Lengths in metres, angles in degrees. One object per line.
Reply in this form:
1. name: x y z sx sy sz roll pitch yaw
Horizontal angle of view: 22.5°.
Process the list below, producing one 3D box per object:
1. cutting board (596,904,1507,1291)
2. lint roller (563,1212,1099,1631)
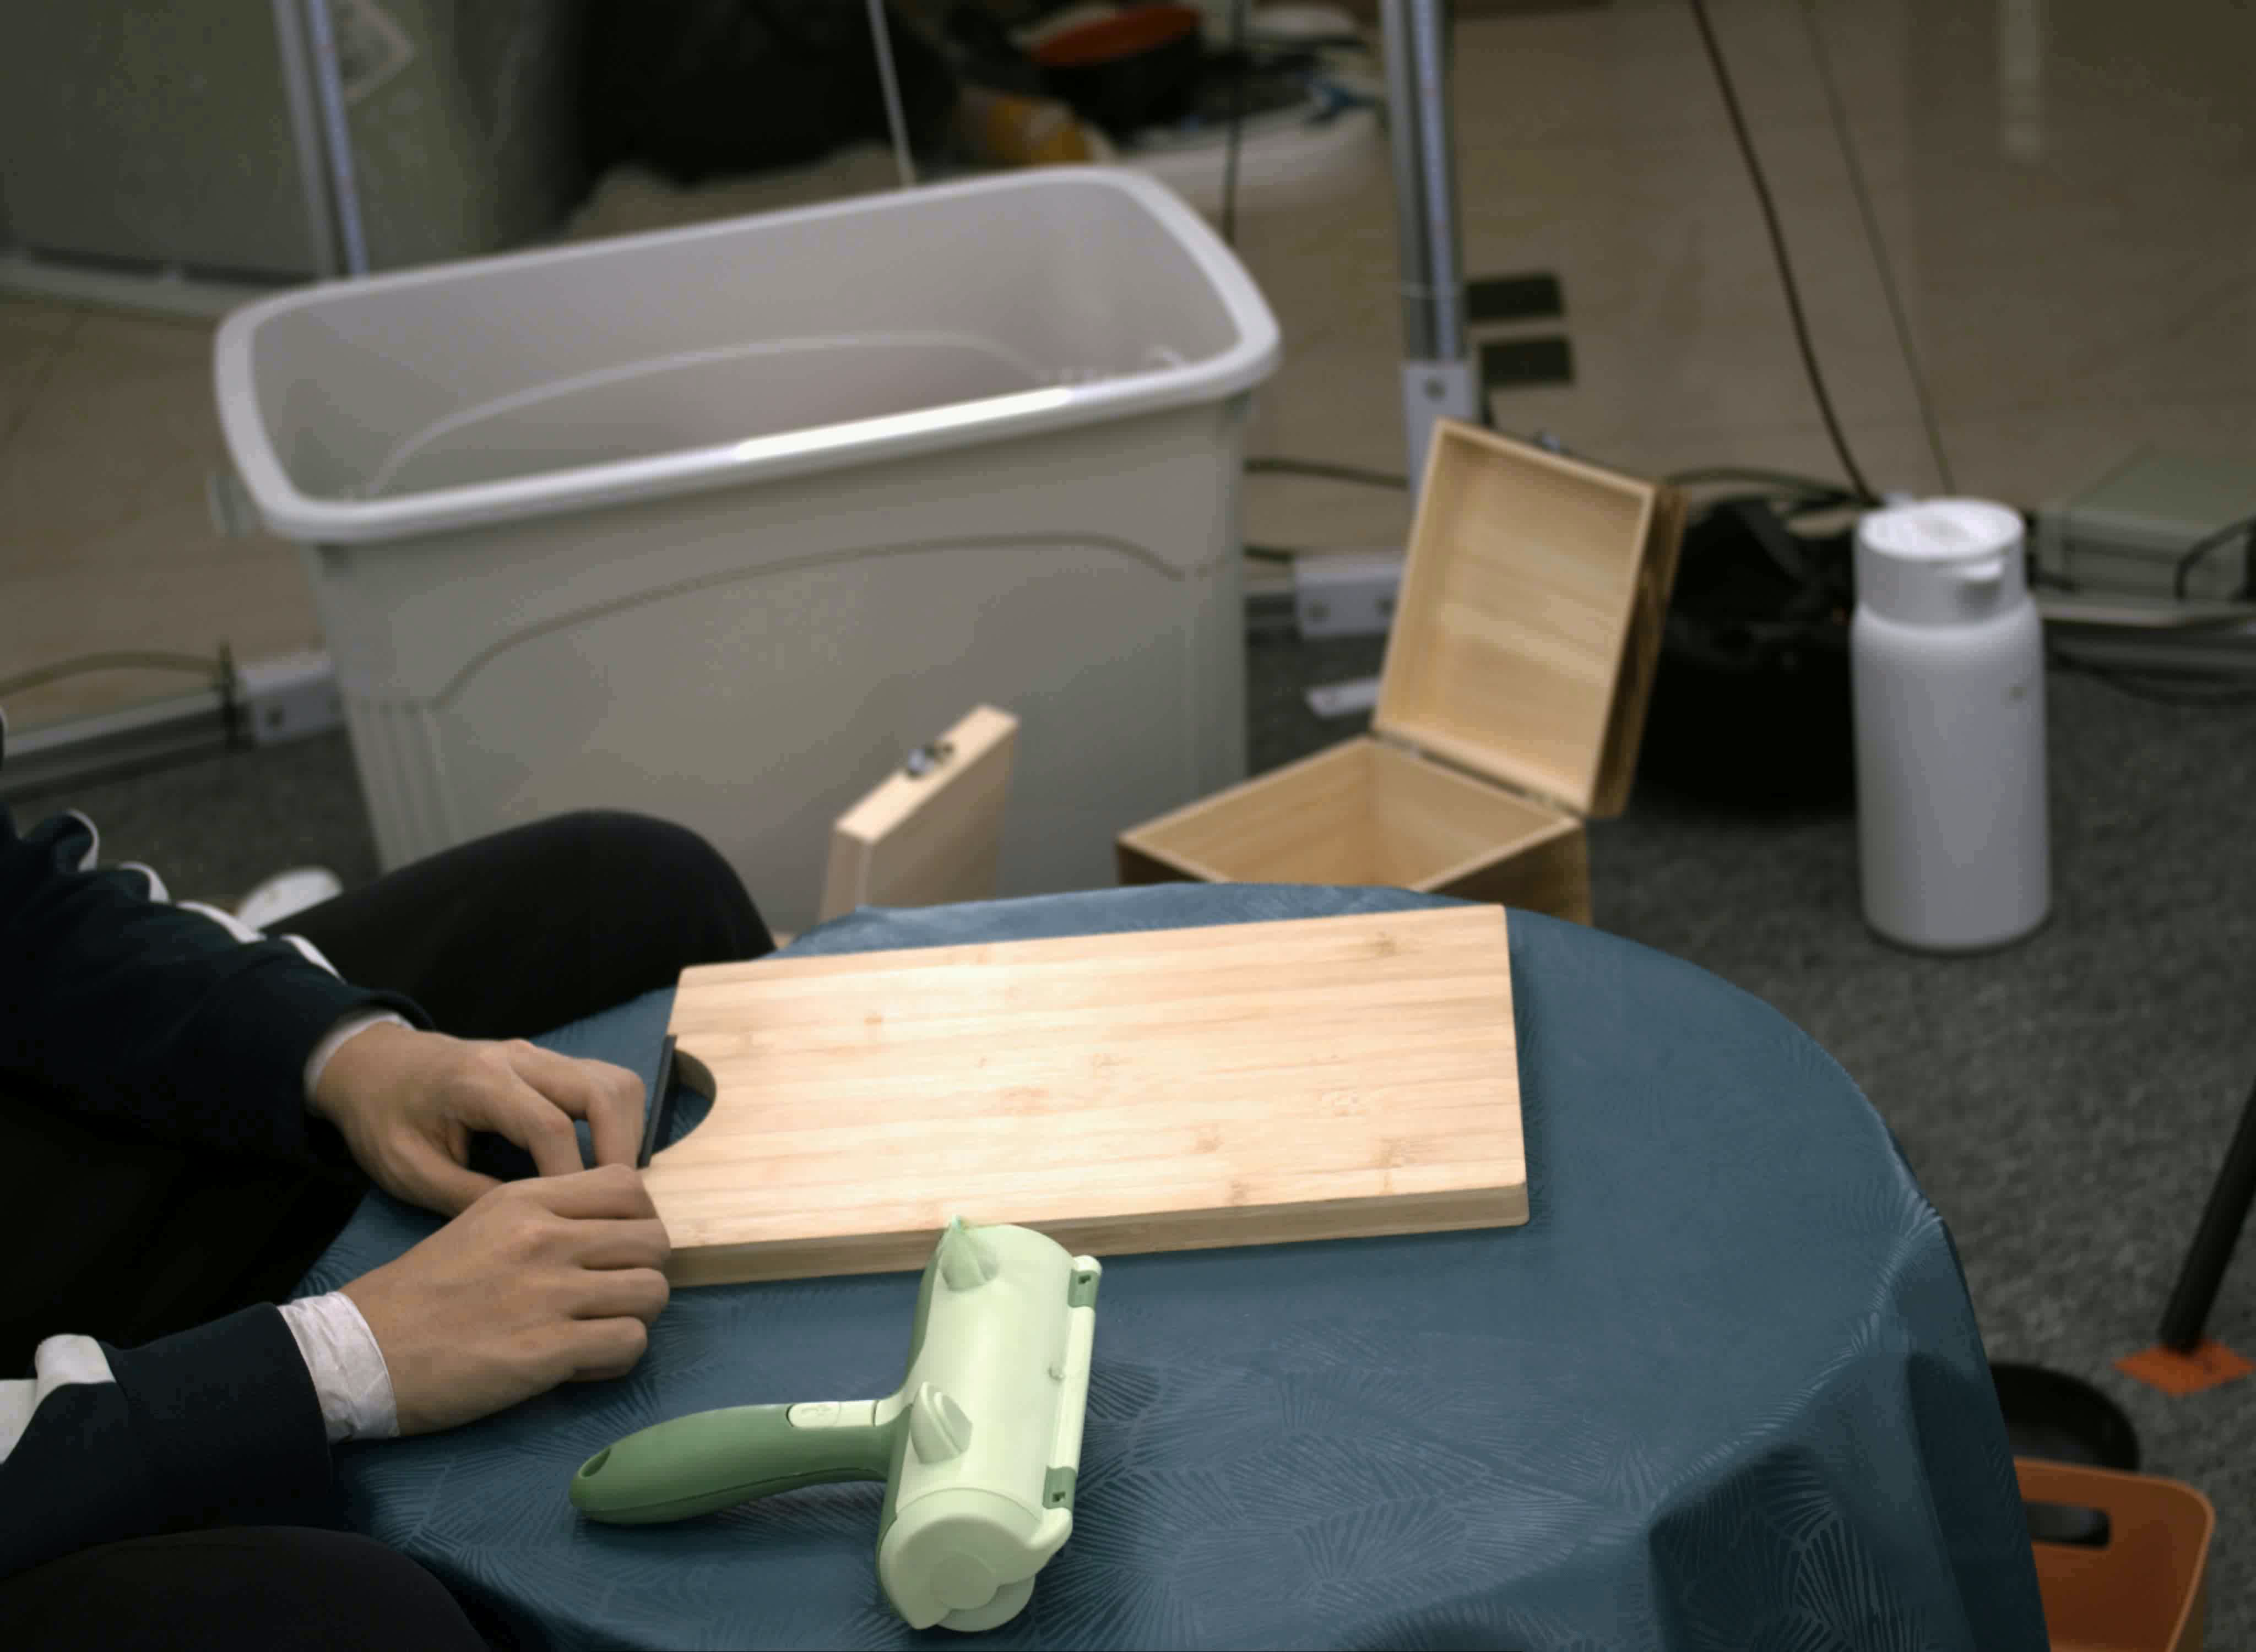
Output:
1. cutting board: -0.022 0.103 2.207 0.348 0.024 0.247 -5 25 3
2. lint roller: -0.106 0.198 1.948 0.183 0.083 0.195 -1 26 4
